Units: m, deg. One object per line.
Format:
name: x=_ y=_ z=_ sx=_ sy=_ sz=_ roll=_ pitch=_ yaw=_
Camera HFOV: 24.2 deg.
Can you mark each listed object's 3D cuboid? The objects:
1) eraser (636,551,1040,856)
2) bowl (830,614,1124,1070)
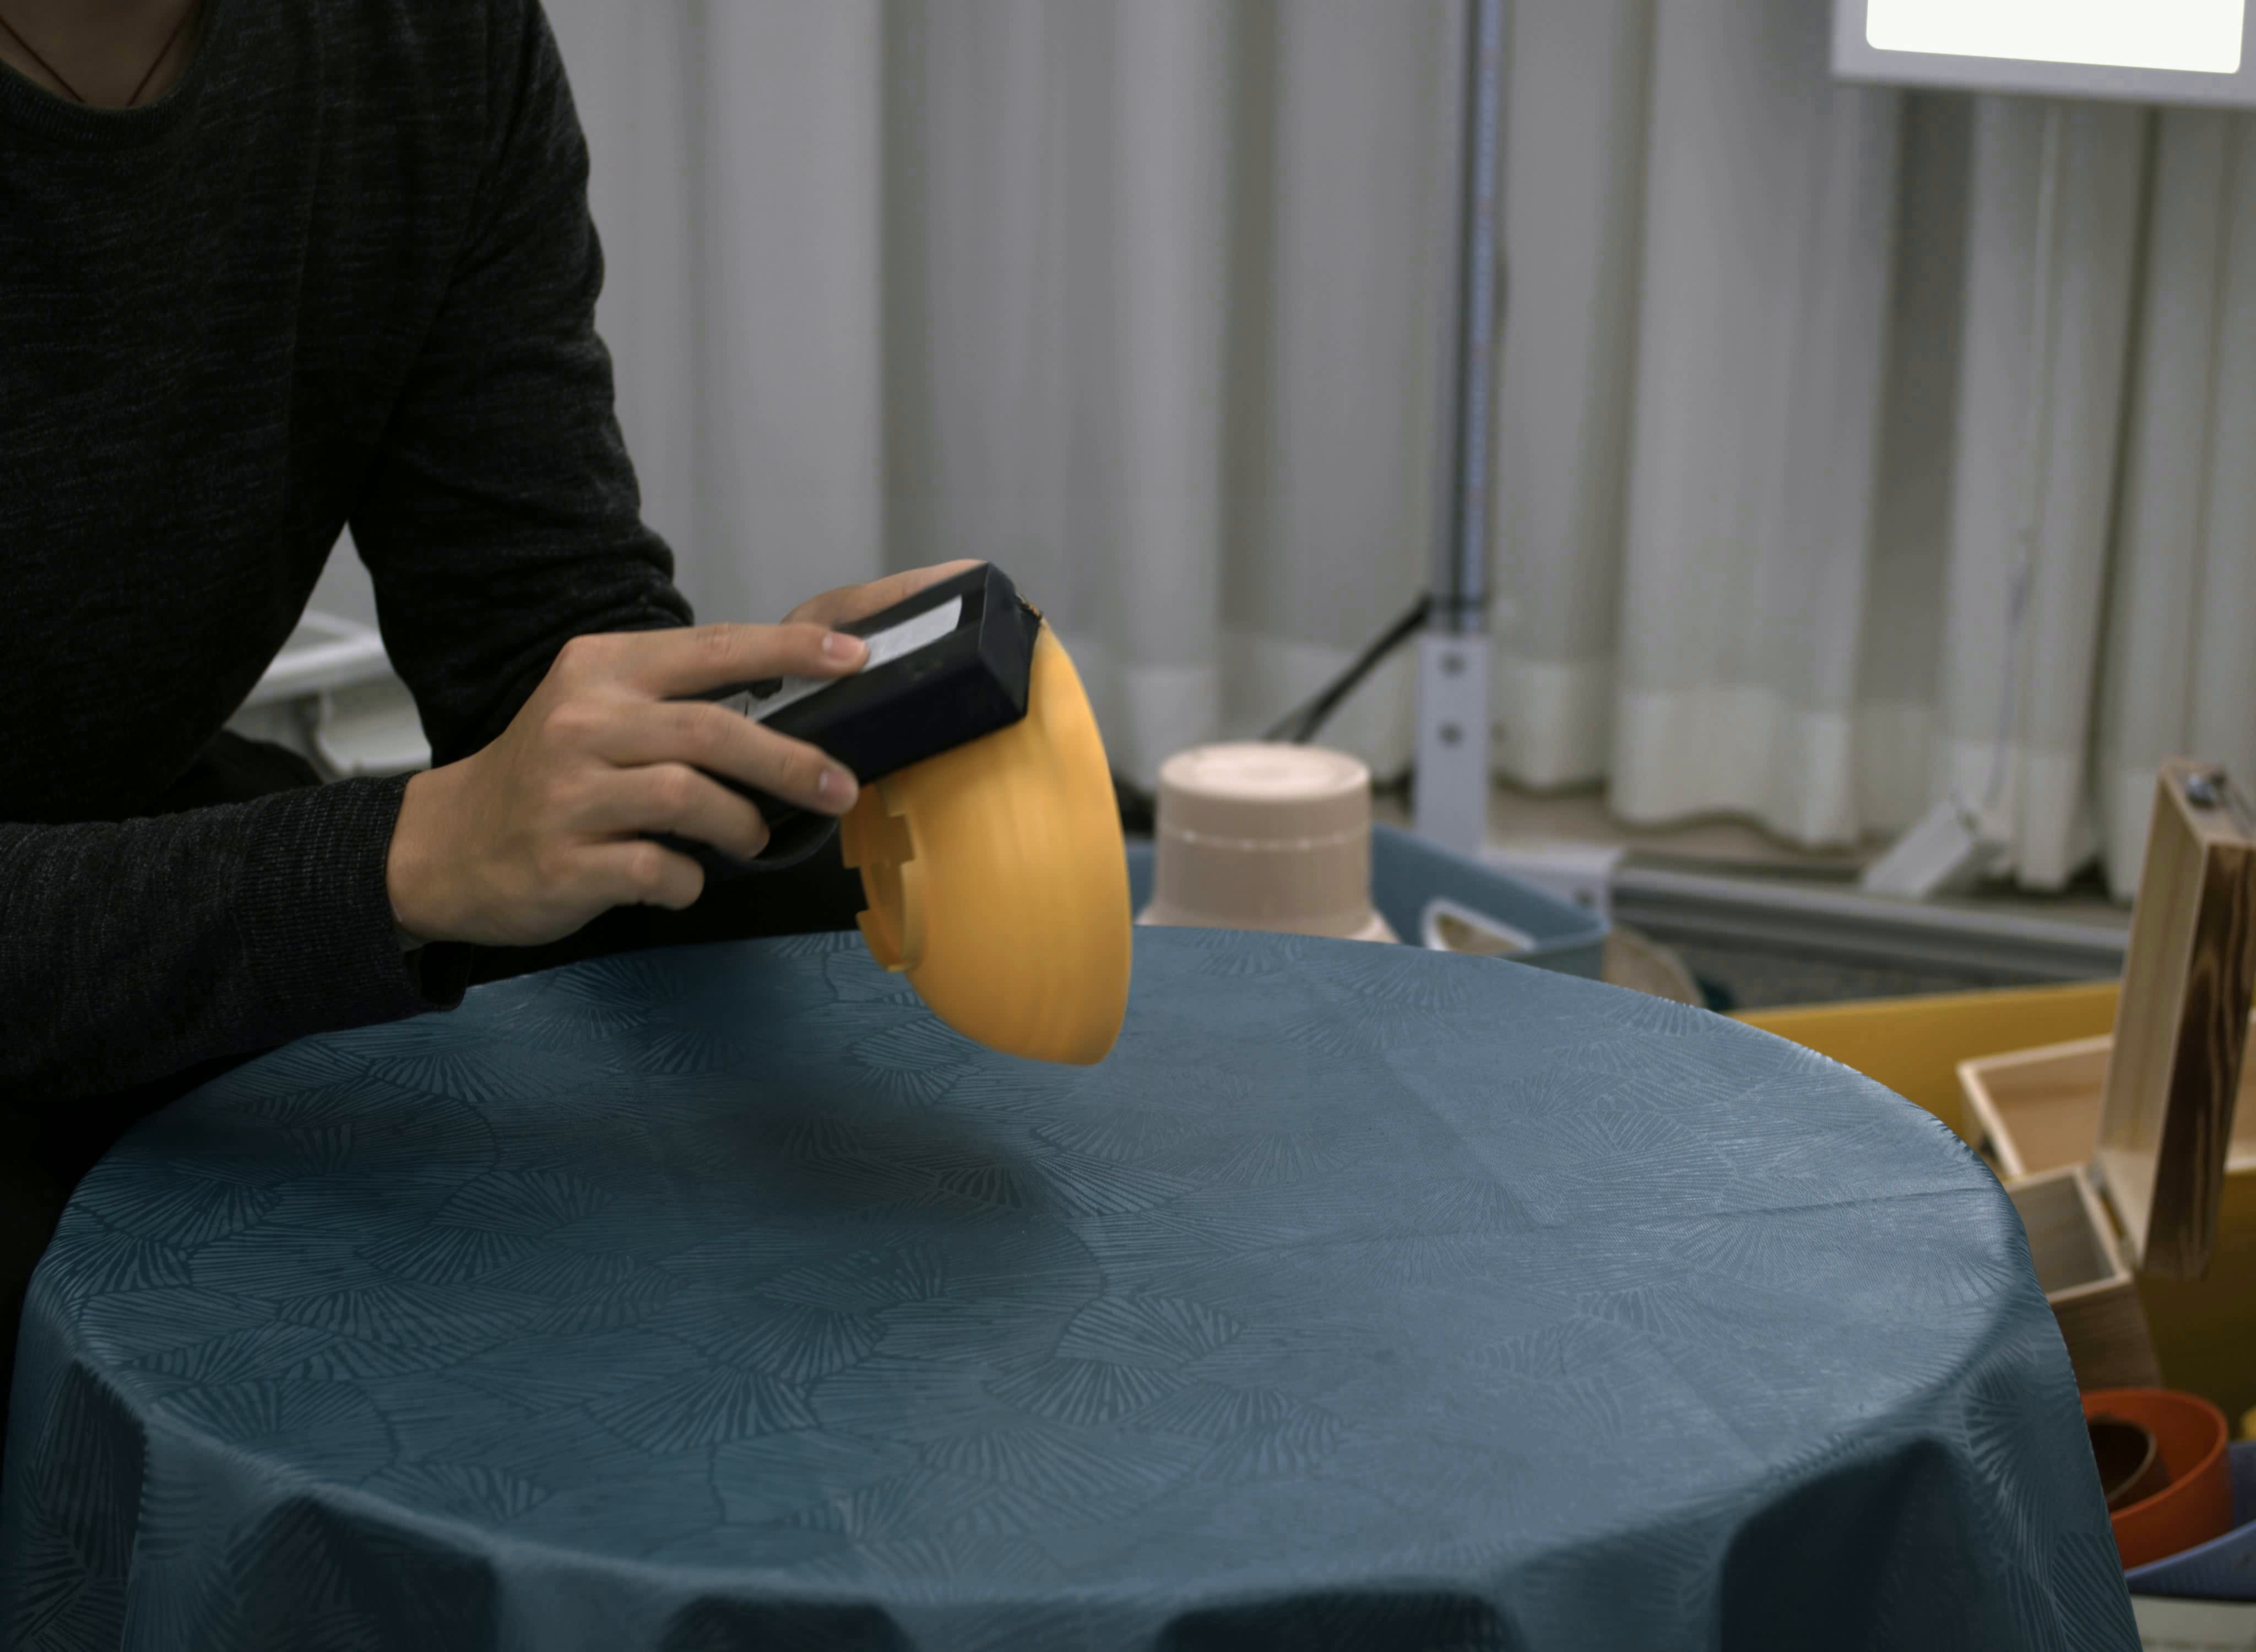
eraser: x=-0.085 y=-0.037 z=1.565 sx=0.125 sy=0.031 sz=0.053 roll=-24 pitch=30 yaw=17
bowl: x=-0.053 y=0.008 z=1.602 sx=0.060 sy=0.146 sz=0.143 roll=-10 pitch=19 yaw=-19
